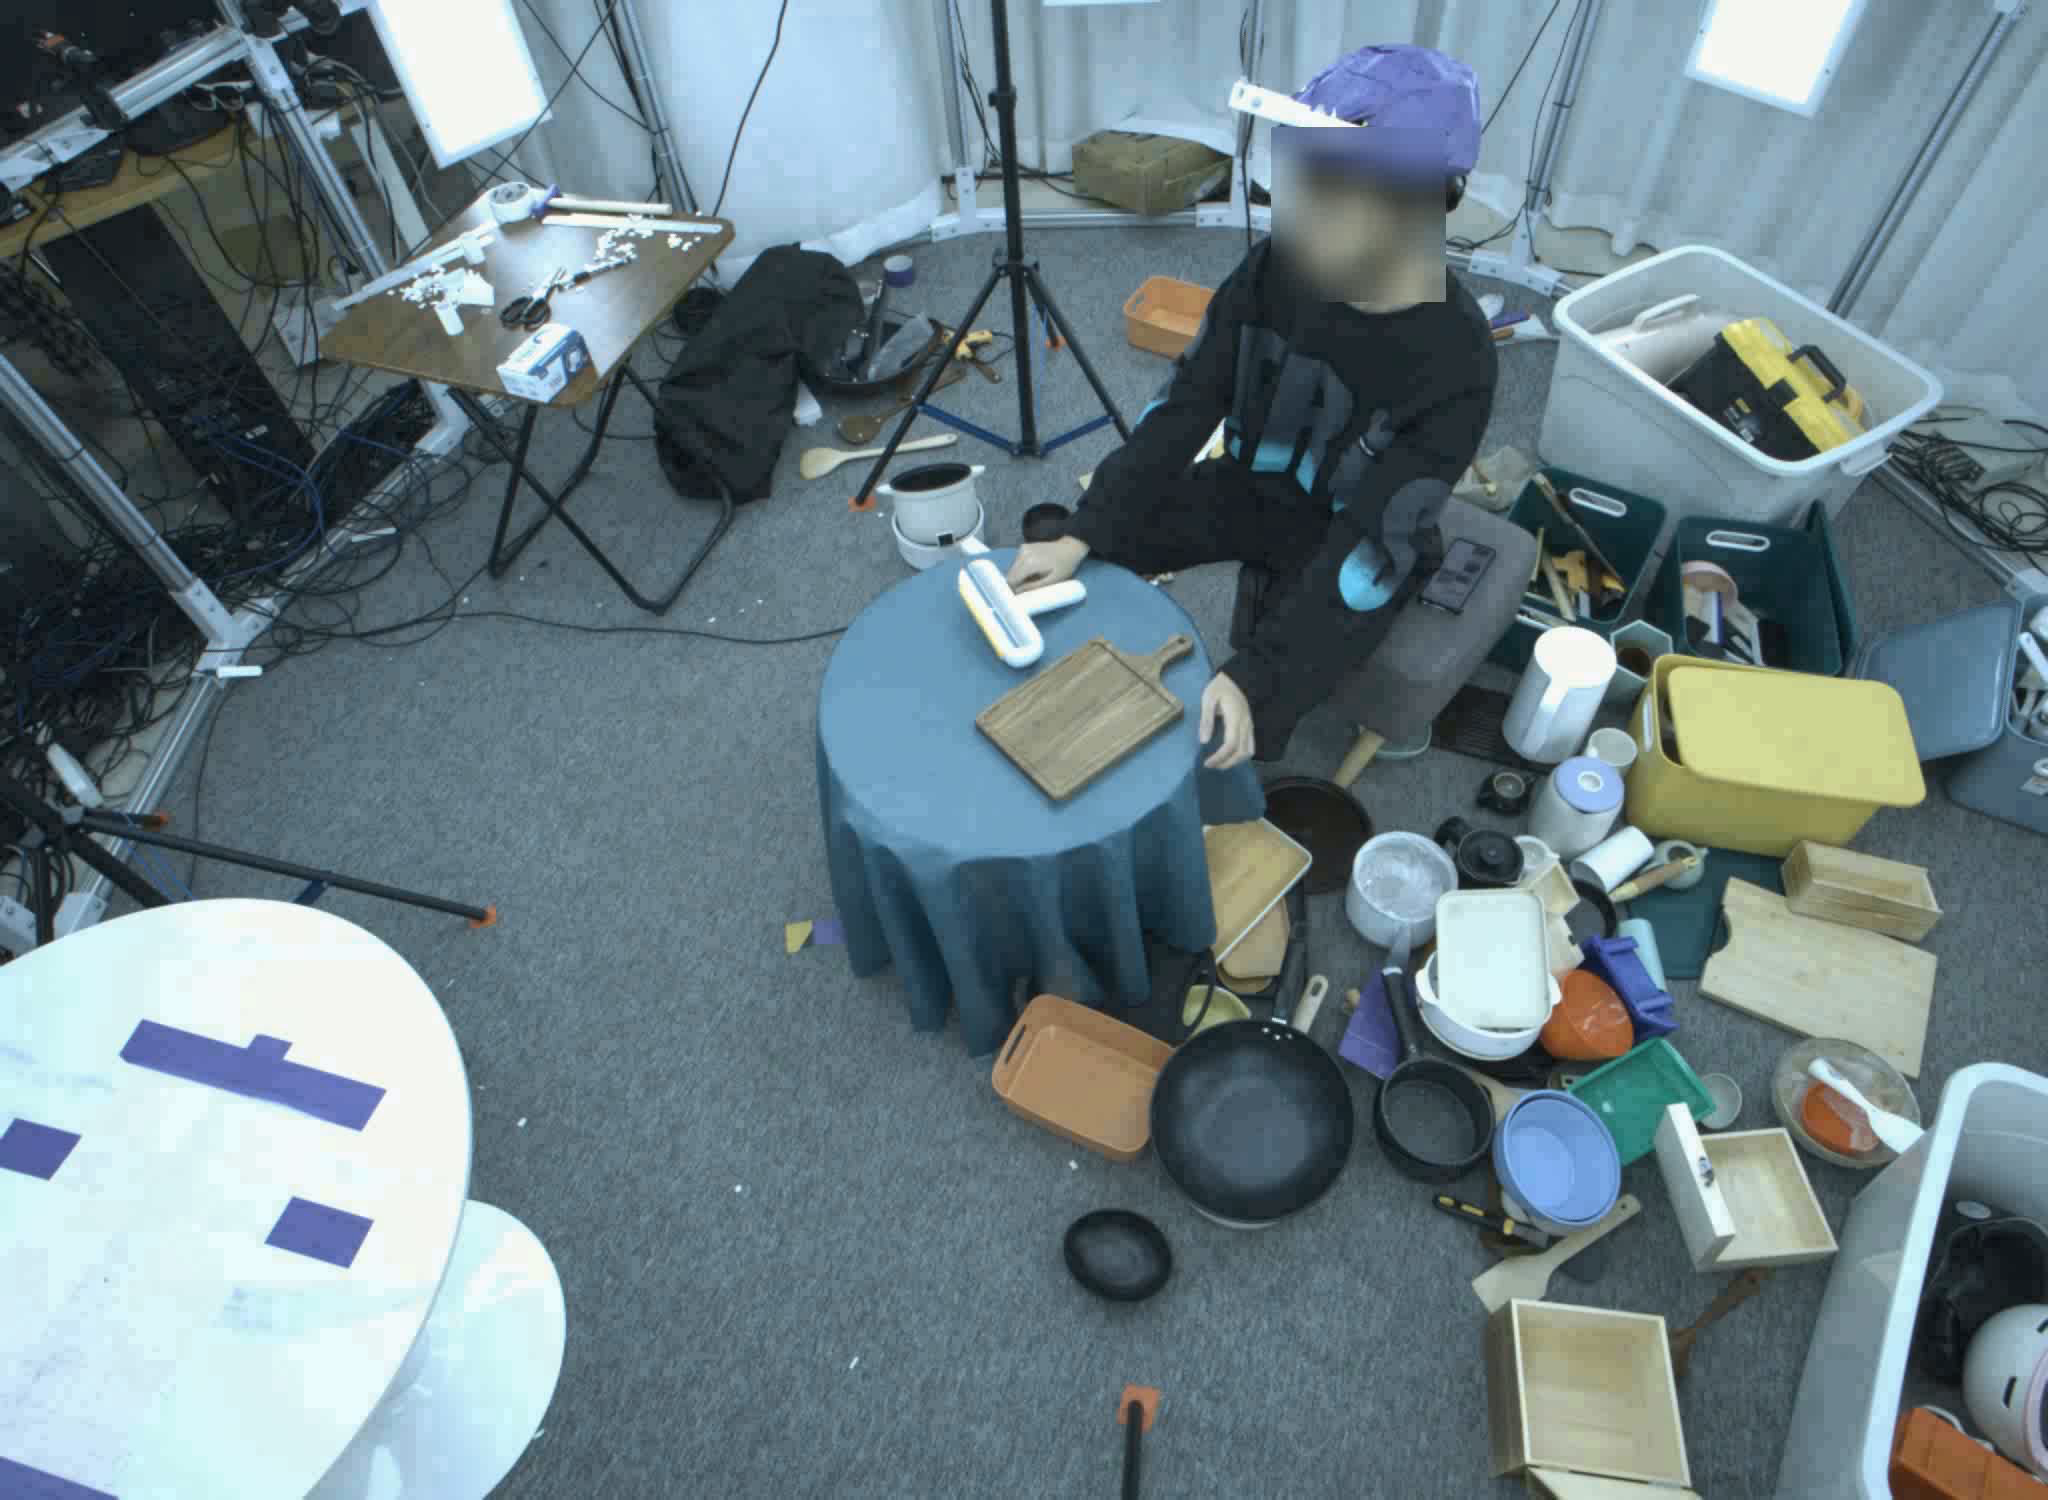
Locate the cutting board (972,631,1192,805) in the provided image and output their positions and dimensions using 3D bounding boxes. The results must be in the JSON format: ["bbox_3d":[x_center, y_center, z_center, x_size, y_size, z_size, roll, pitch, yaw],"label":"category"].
[{"bbox_3d":[0.117,-0.076,1.821,0.355,0.023,0.197,-35,60,-21],"label":"cutting board"}]

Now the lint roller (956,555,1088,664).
[{"bbox_3d":[0.012,-0.233,1.907,0.194,0.075,0.190,-22,62,-15],"label":"lint roller"}]
